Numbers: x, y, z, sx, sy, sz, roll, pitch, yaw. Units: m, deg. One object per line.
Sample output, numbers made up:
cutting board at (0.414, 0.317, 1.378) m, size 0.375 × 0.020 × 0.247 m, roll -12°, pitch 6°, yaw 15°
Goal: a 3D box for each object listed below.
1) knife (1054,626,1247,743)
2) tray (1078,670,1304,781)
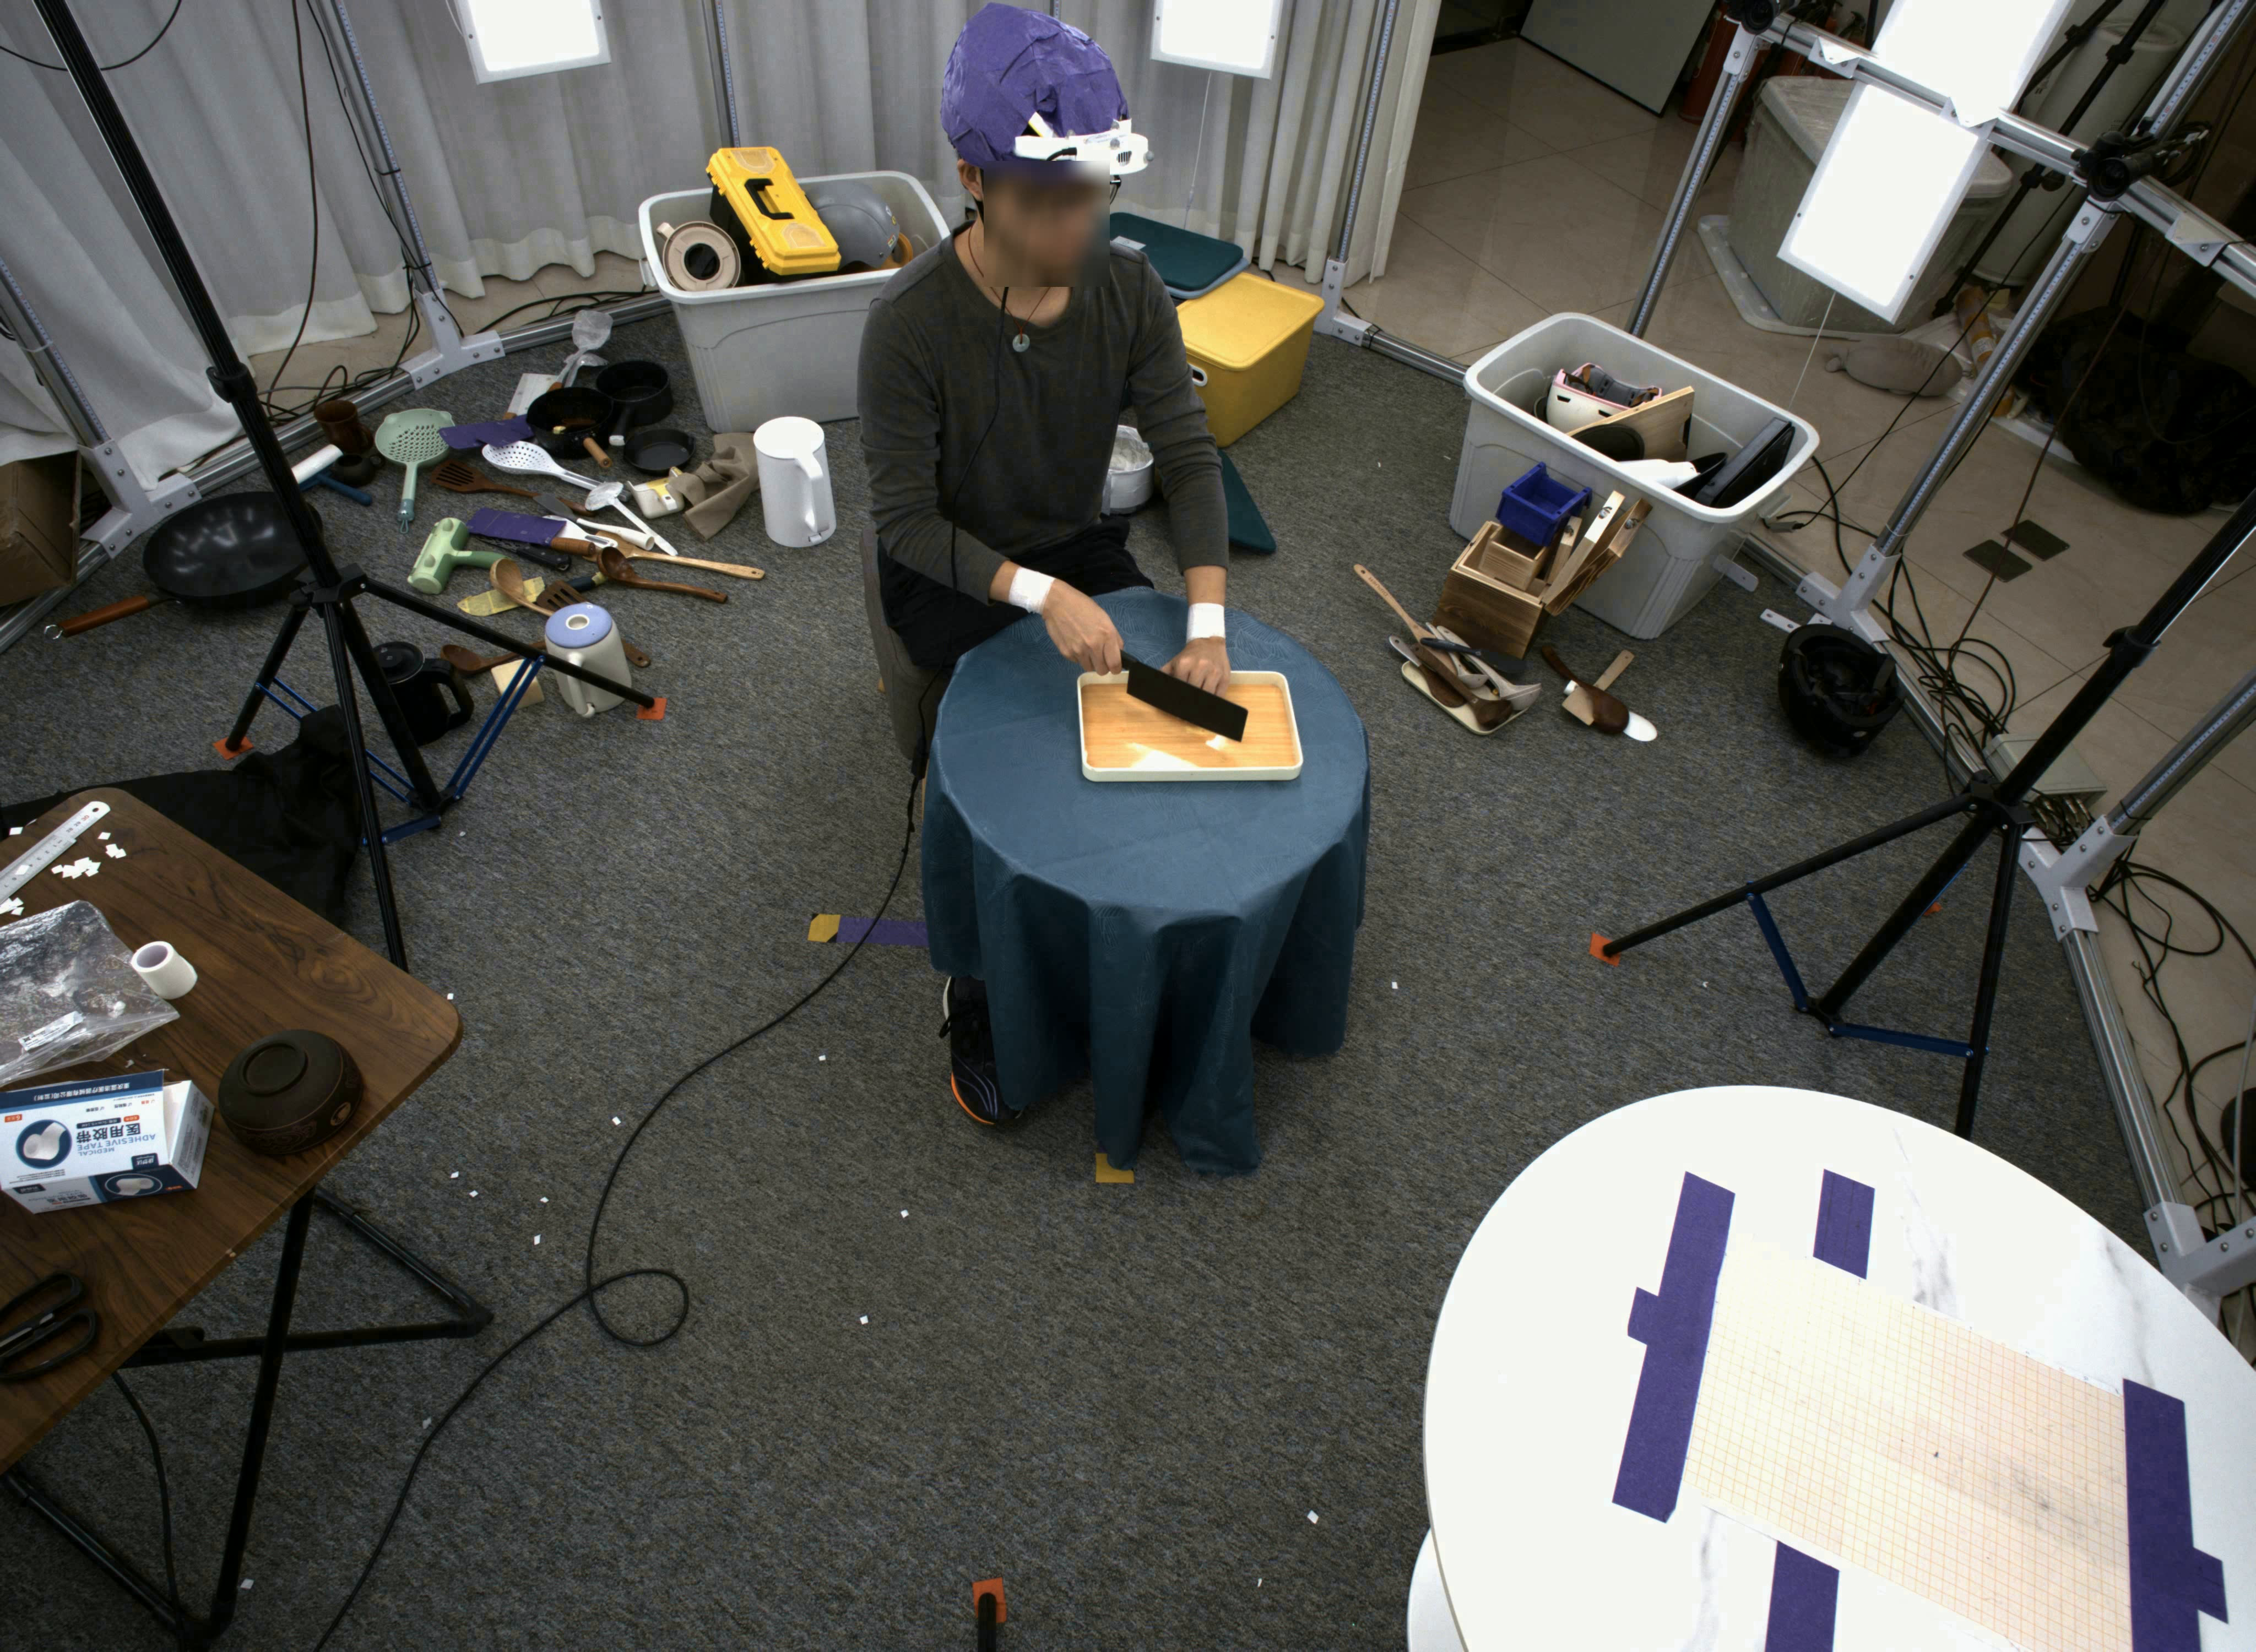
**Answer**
knife at (0.028, -0.198, 1.767) m, size 0.304 × 0.079 × 0.021 m, roll 30°, pitch 49°, yaw 14°
tray at (0.083, -0.141, 1.778) m, size 0.300 × 0.027 × 0.196 m, roll -1°, pitch 49°, yaw -4°
